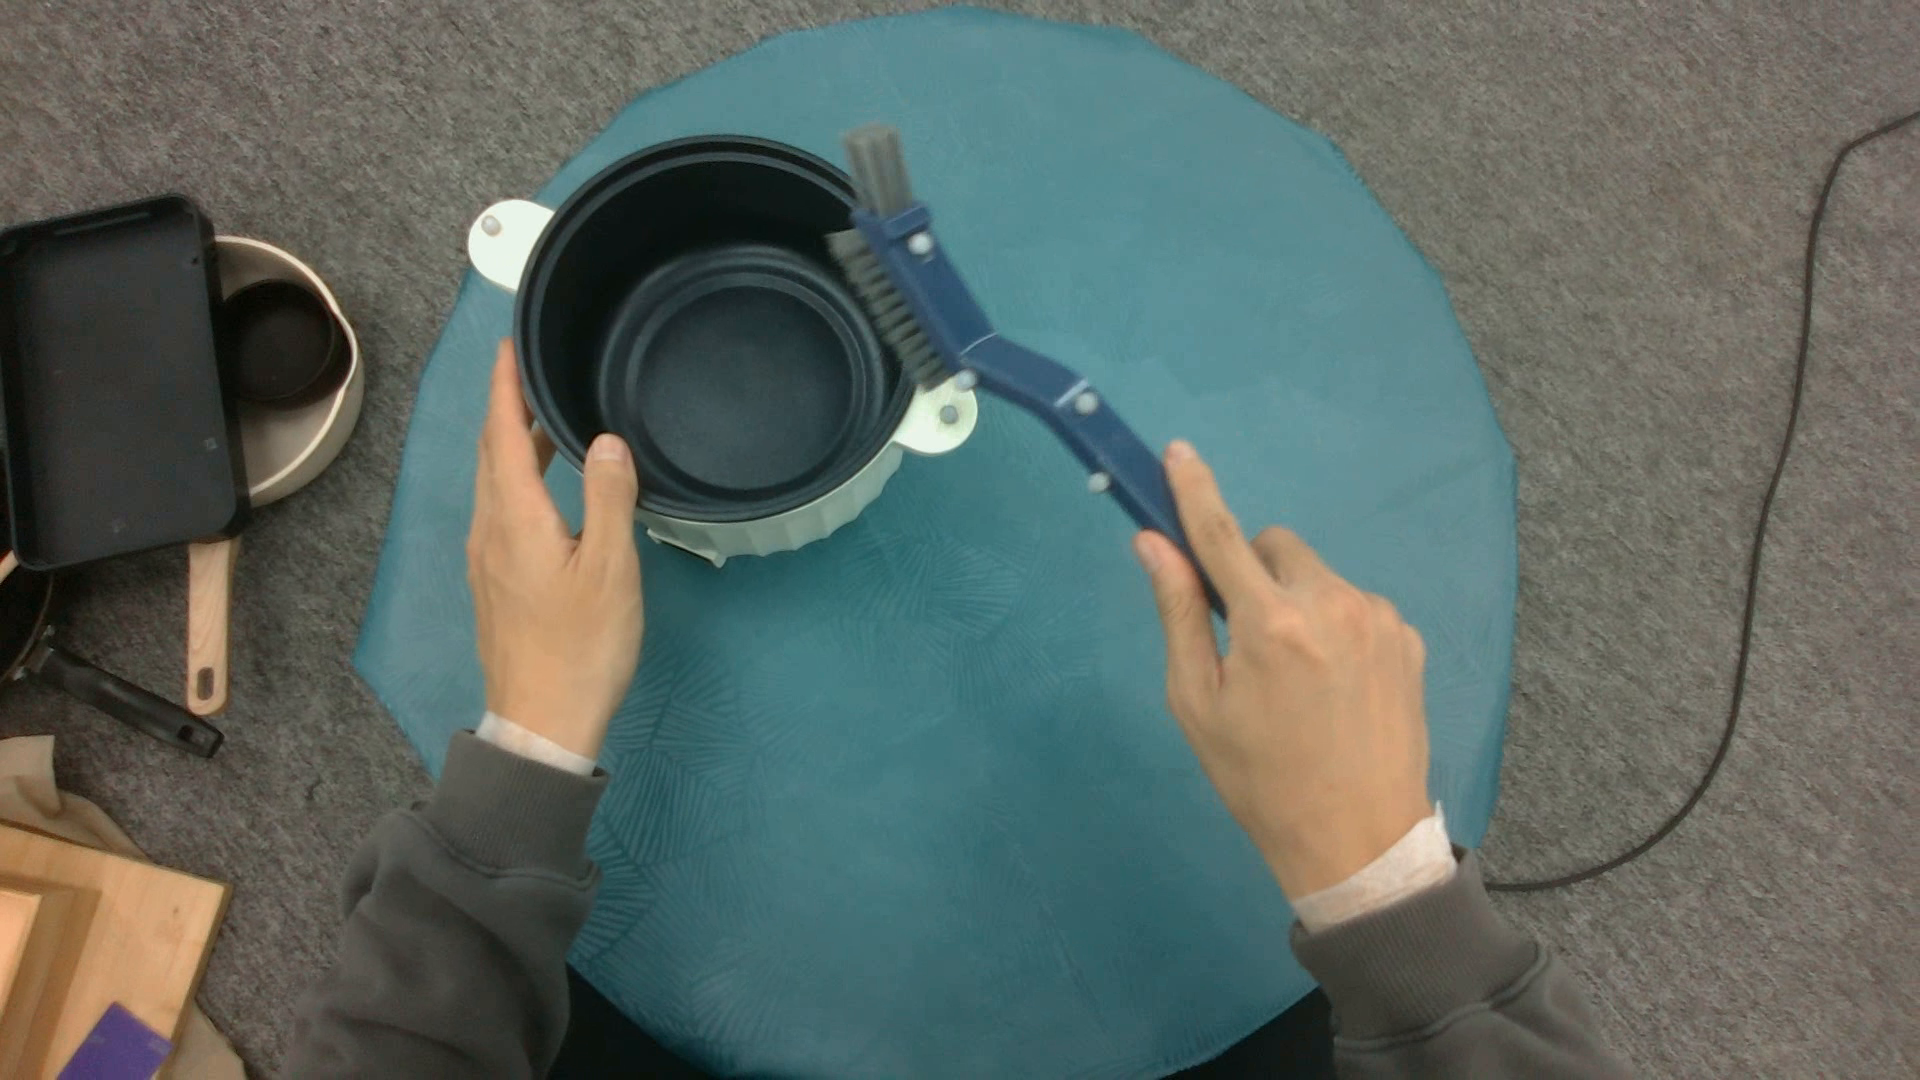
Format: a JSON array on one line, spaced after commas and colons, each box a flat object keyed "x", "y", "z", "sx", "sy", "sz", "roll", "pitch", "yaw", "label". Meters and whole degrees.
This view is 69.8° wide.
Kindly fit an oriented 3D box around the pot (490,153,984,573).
[{"x": -0.103, "y": -0.085, "z": 0.690, "sx": 0.240, "sy": 0.142, "sz": 0.191, "roll": 21, "pitch": 82, "yaw": 1, "label": "pot"}]

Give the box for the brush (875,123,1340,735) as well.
[{"x": 0.059, "y": -0.043, "z": 0.545, "sx": 0.273, "sy": 0.095, "sz": 0.033, "roll": 45, "pitch": 49, "yaw": 13, "label": "brush"}]
